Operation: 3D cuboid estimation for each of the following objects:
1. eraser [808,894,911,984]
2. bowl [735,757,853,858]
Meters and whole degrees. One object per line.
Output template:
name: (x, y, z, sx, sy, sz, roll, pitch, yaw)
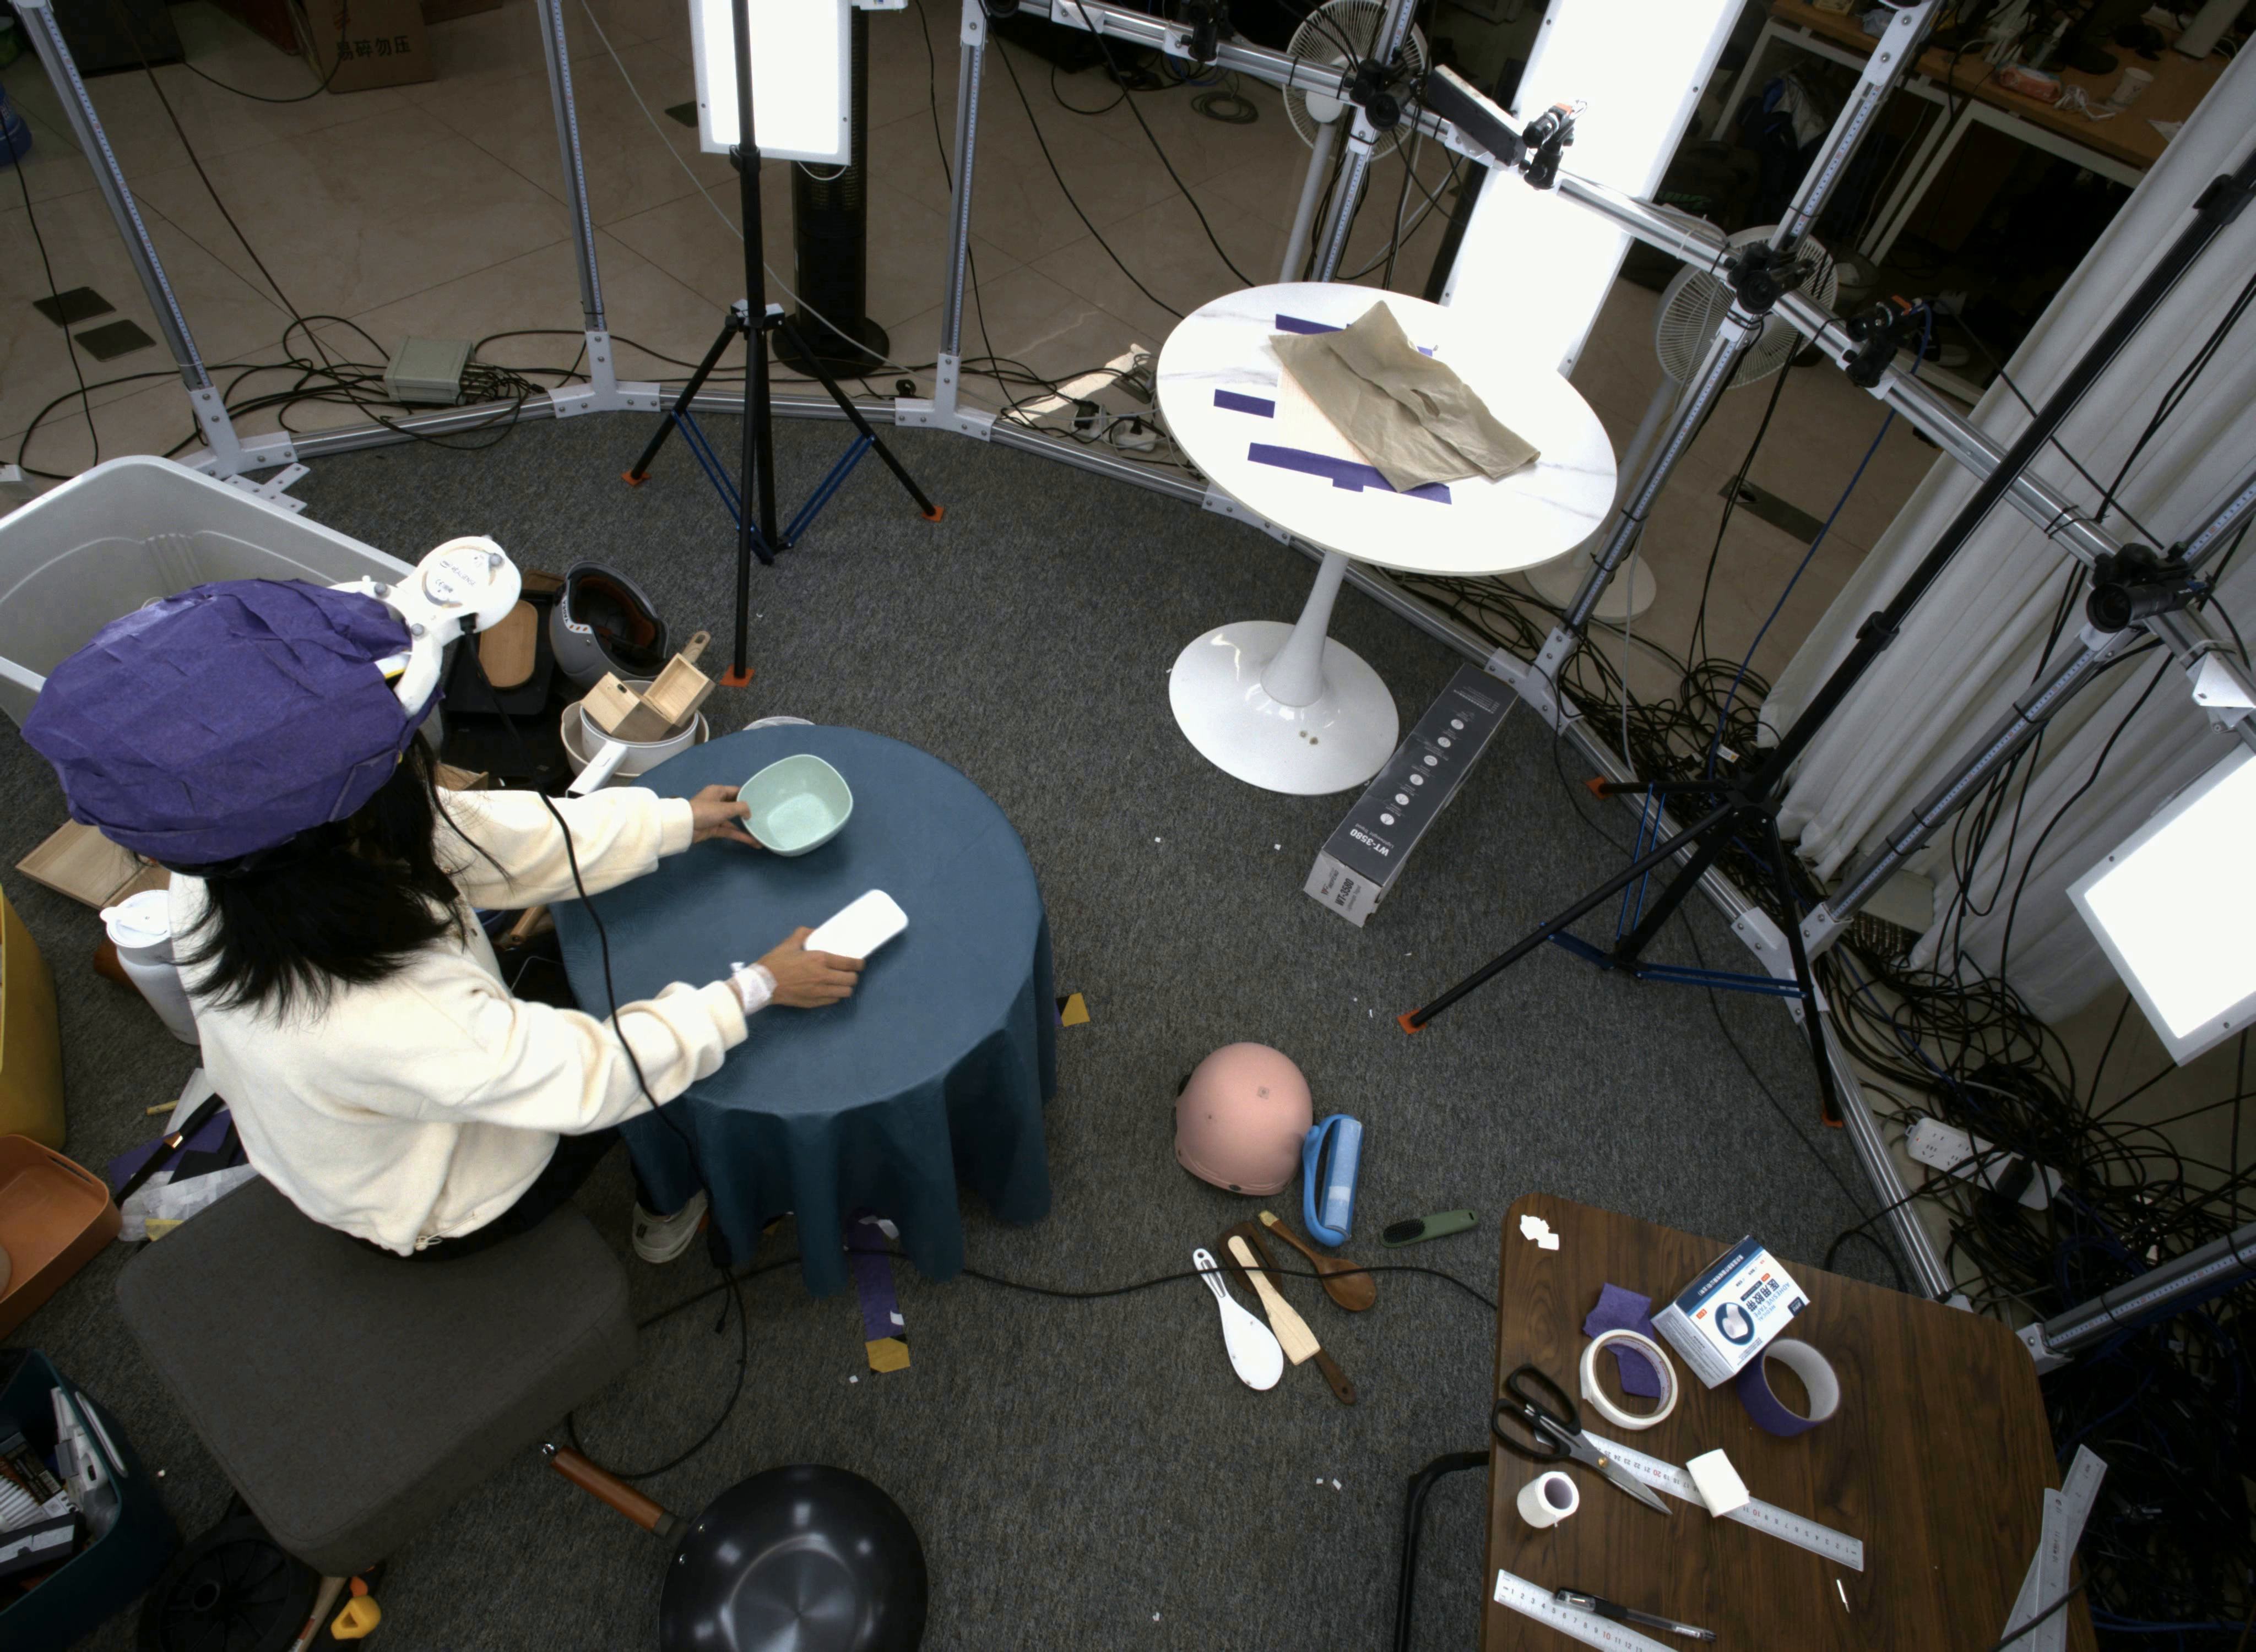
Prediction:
eraser: (-0.334, 0.136, 1.611, 0.063, 0.035, 0.131, 48, 54, 8)
bowl: (-0.430, -0.016, 1.683, 0.150, 0.060, 0.149, 4, 52, -3)
